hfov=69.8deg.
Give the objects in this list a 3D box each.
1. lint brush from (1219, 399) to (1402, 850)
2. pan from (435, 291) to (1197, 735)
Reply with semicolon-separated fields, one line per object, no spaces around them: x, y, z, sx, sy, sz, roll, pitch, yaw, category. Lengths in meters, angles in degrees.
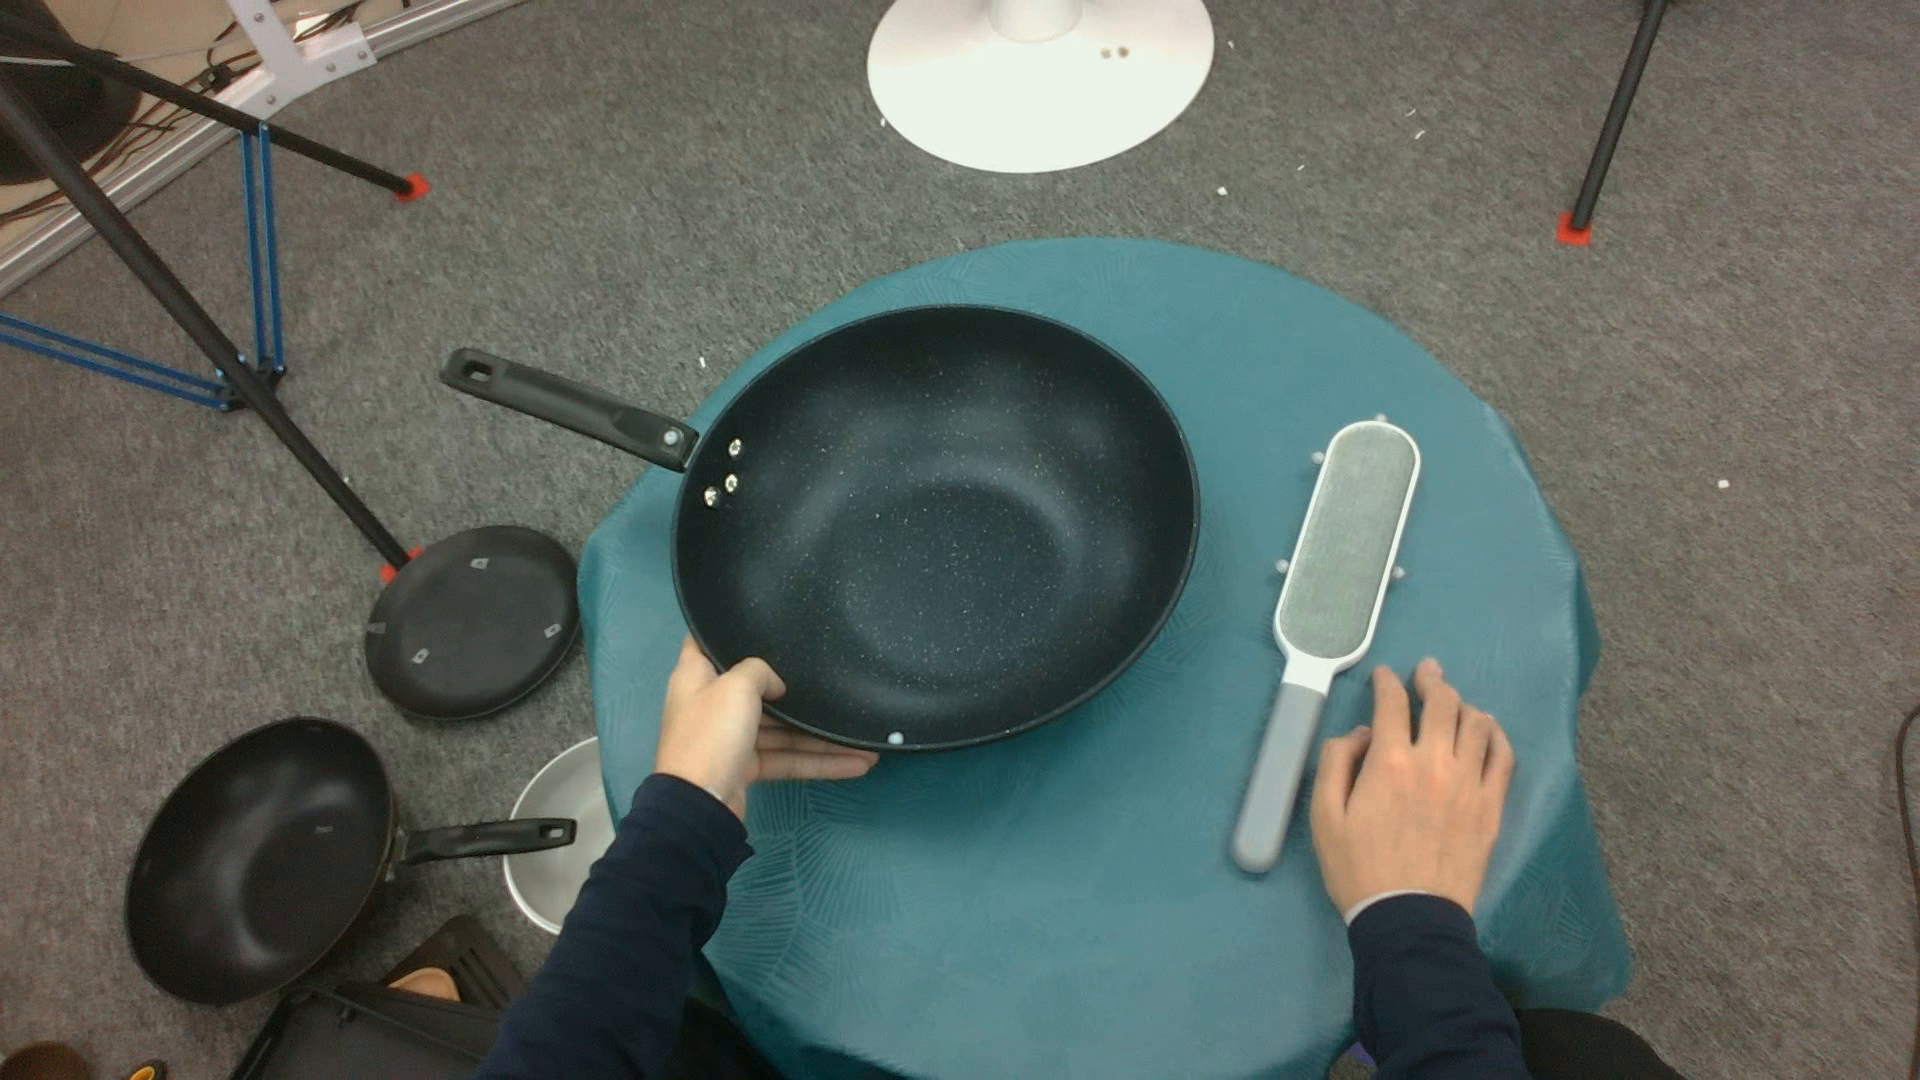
0.203;0.039;0.809;0.060;0.021;0.310;18;62;10;lint brush
-0.095;-0.033;0.839;0.476;0.111;0.311;13;59;15;pan
